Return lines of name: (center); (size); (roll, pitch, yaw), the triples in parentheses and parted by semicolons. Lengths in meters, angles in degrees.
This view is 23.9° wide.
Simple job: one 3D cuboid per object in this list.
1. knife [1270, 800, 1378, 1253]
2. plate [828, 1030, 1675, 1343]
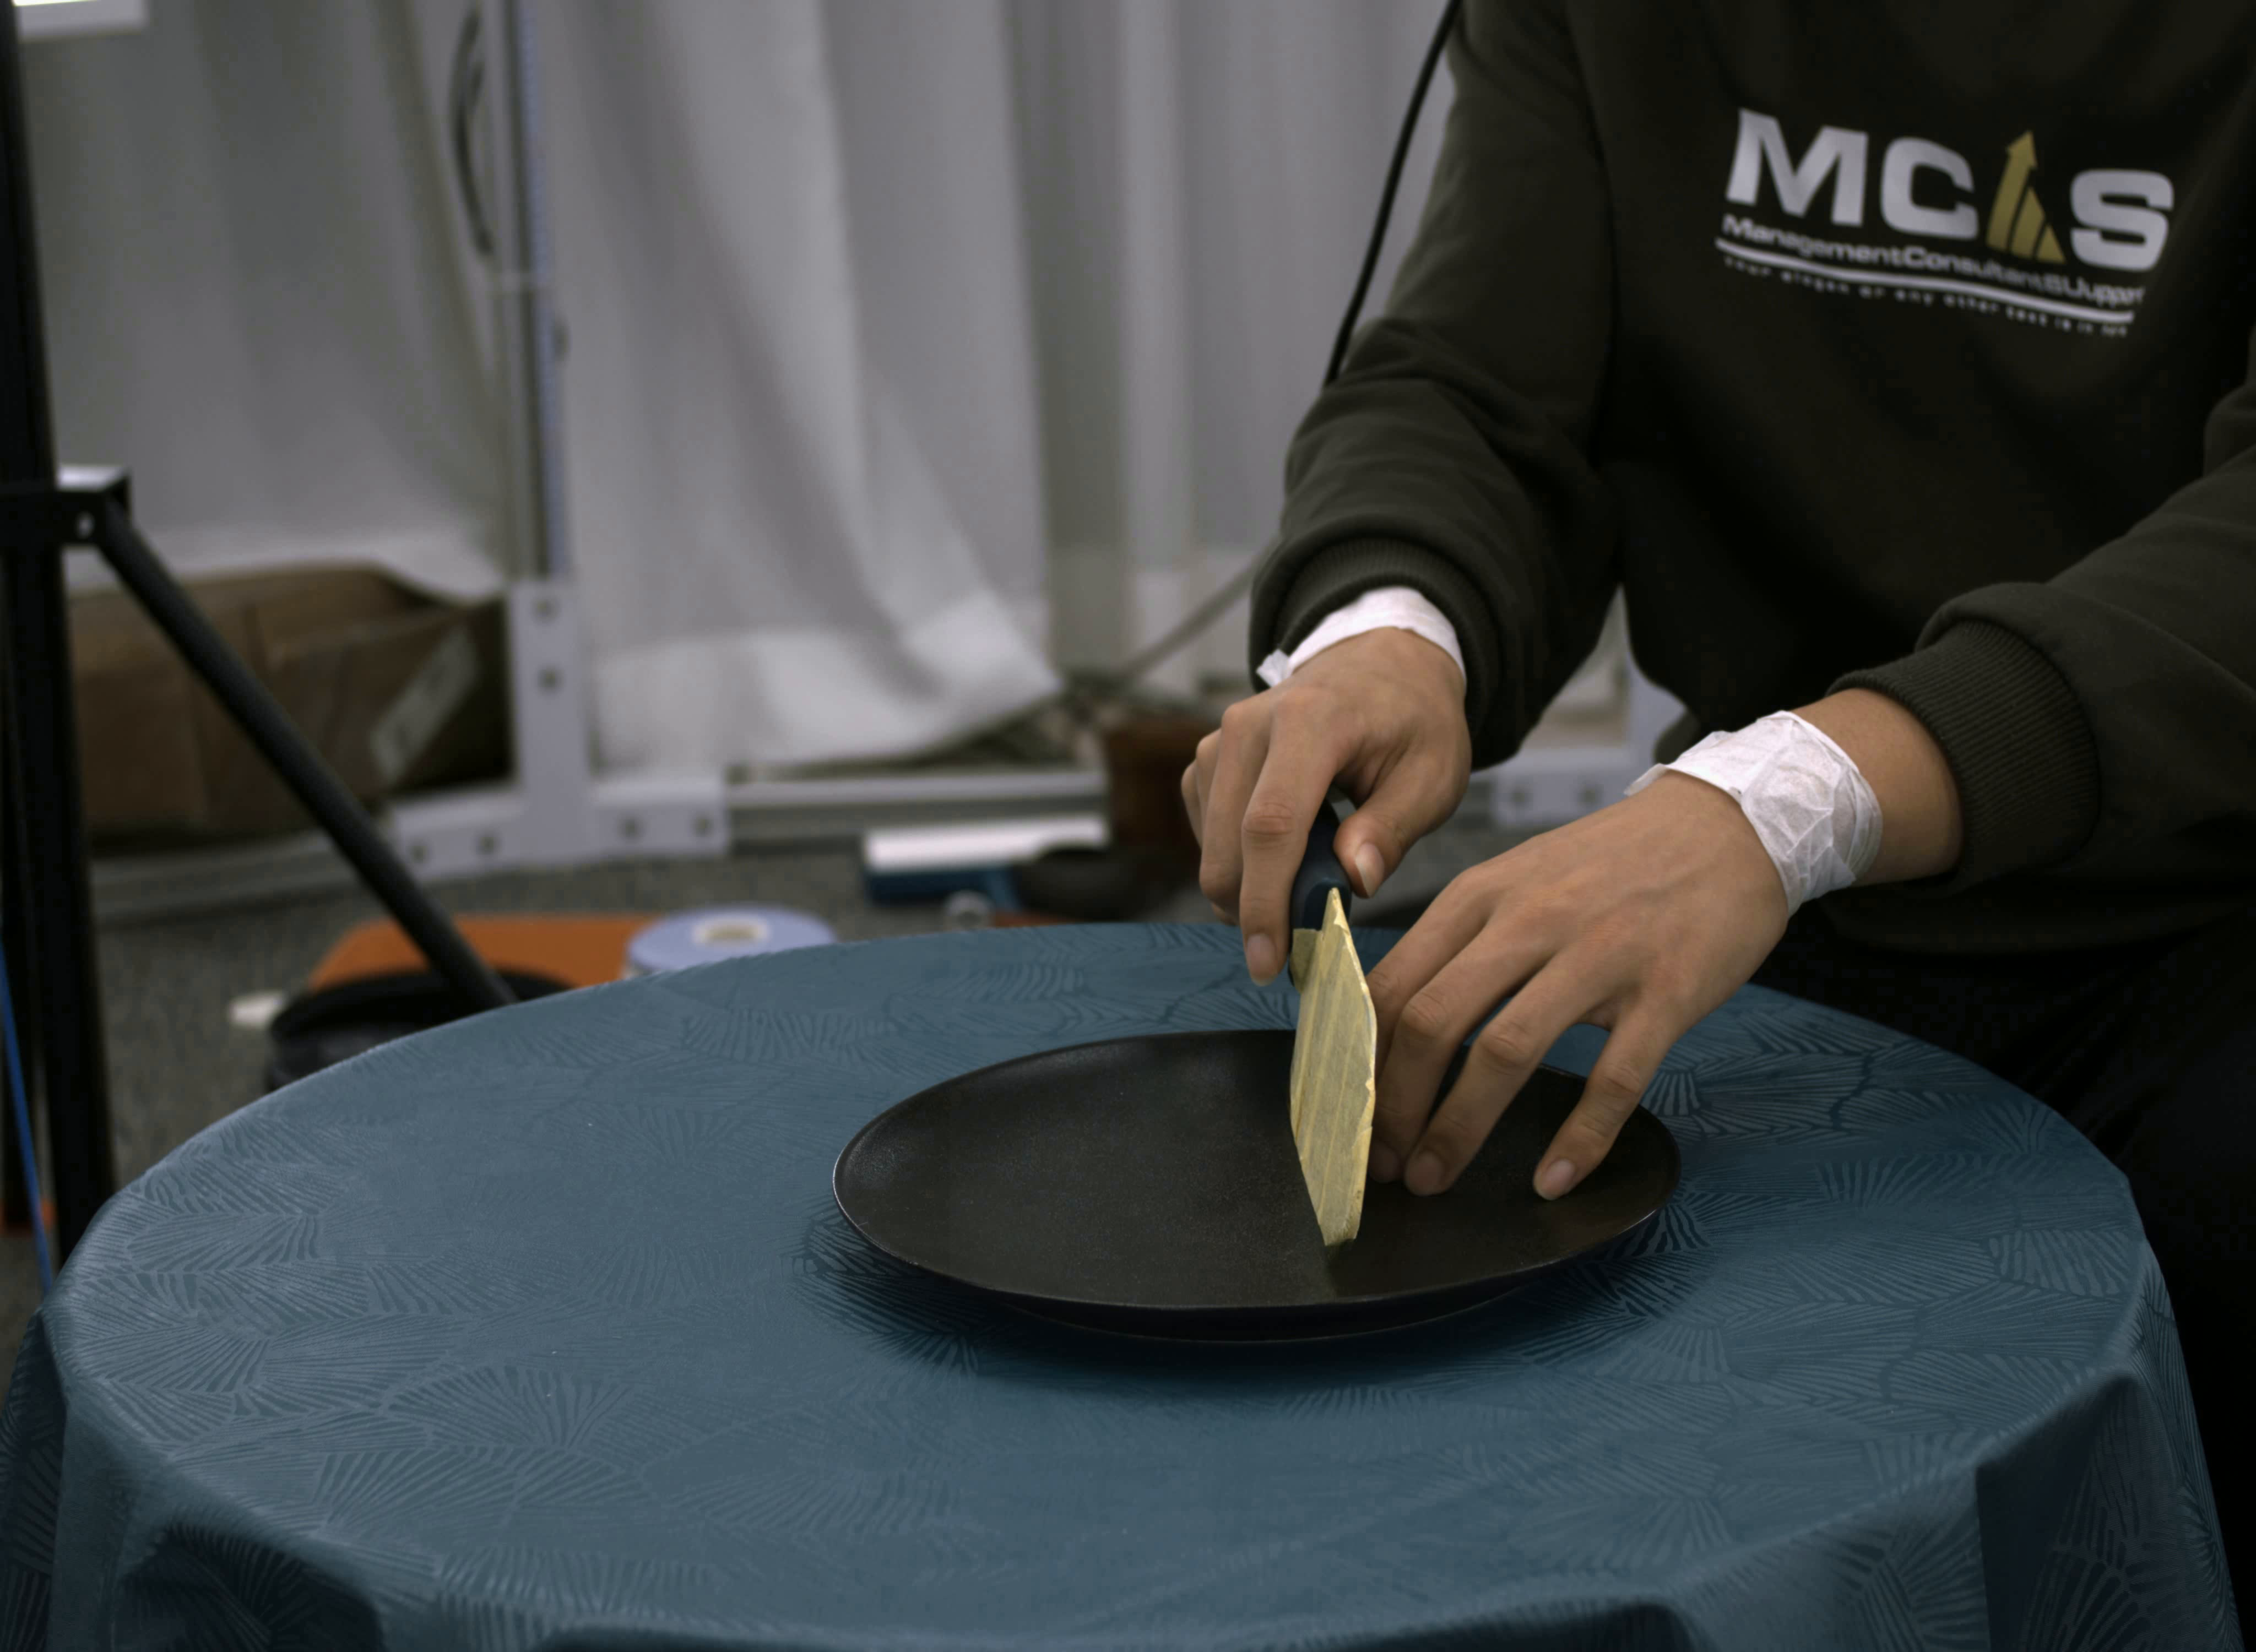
knife: (0.057, 0.054, 1.570); (0.027, 0.081, 0.291); (12, 18, -5)
plate: (0.036, 0.106, 1.522); (0.243, 0.023, 0.245); (-3, 16, -1)
